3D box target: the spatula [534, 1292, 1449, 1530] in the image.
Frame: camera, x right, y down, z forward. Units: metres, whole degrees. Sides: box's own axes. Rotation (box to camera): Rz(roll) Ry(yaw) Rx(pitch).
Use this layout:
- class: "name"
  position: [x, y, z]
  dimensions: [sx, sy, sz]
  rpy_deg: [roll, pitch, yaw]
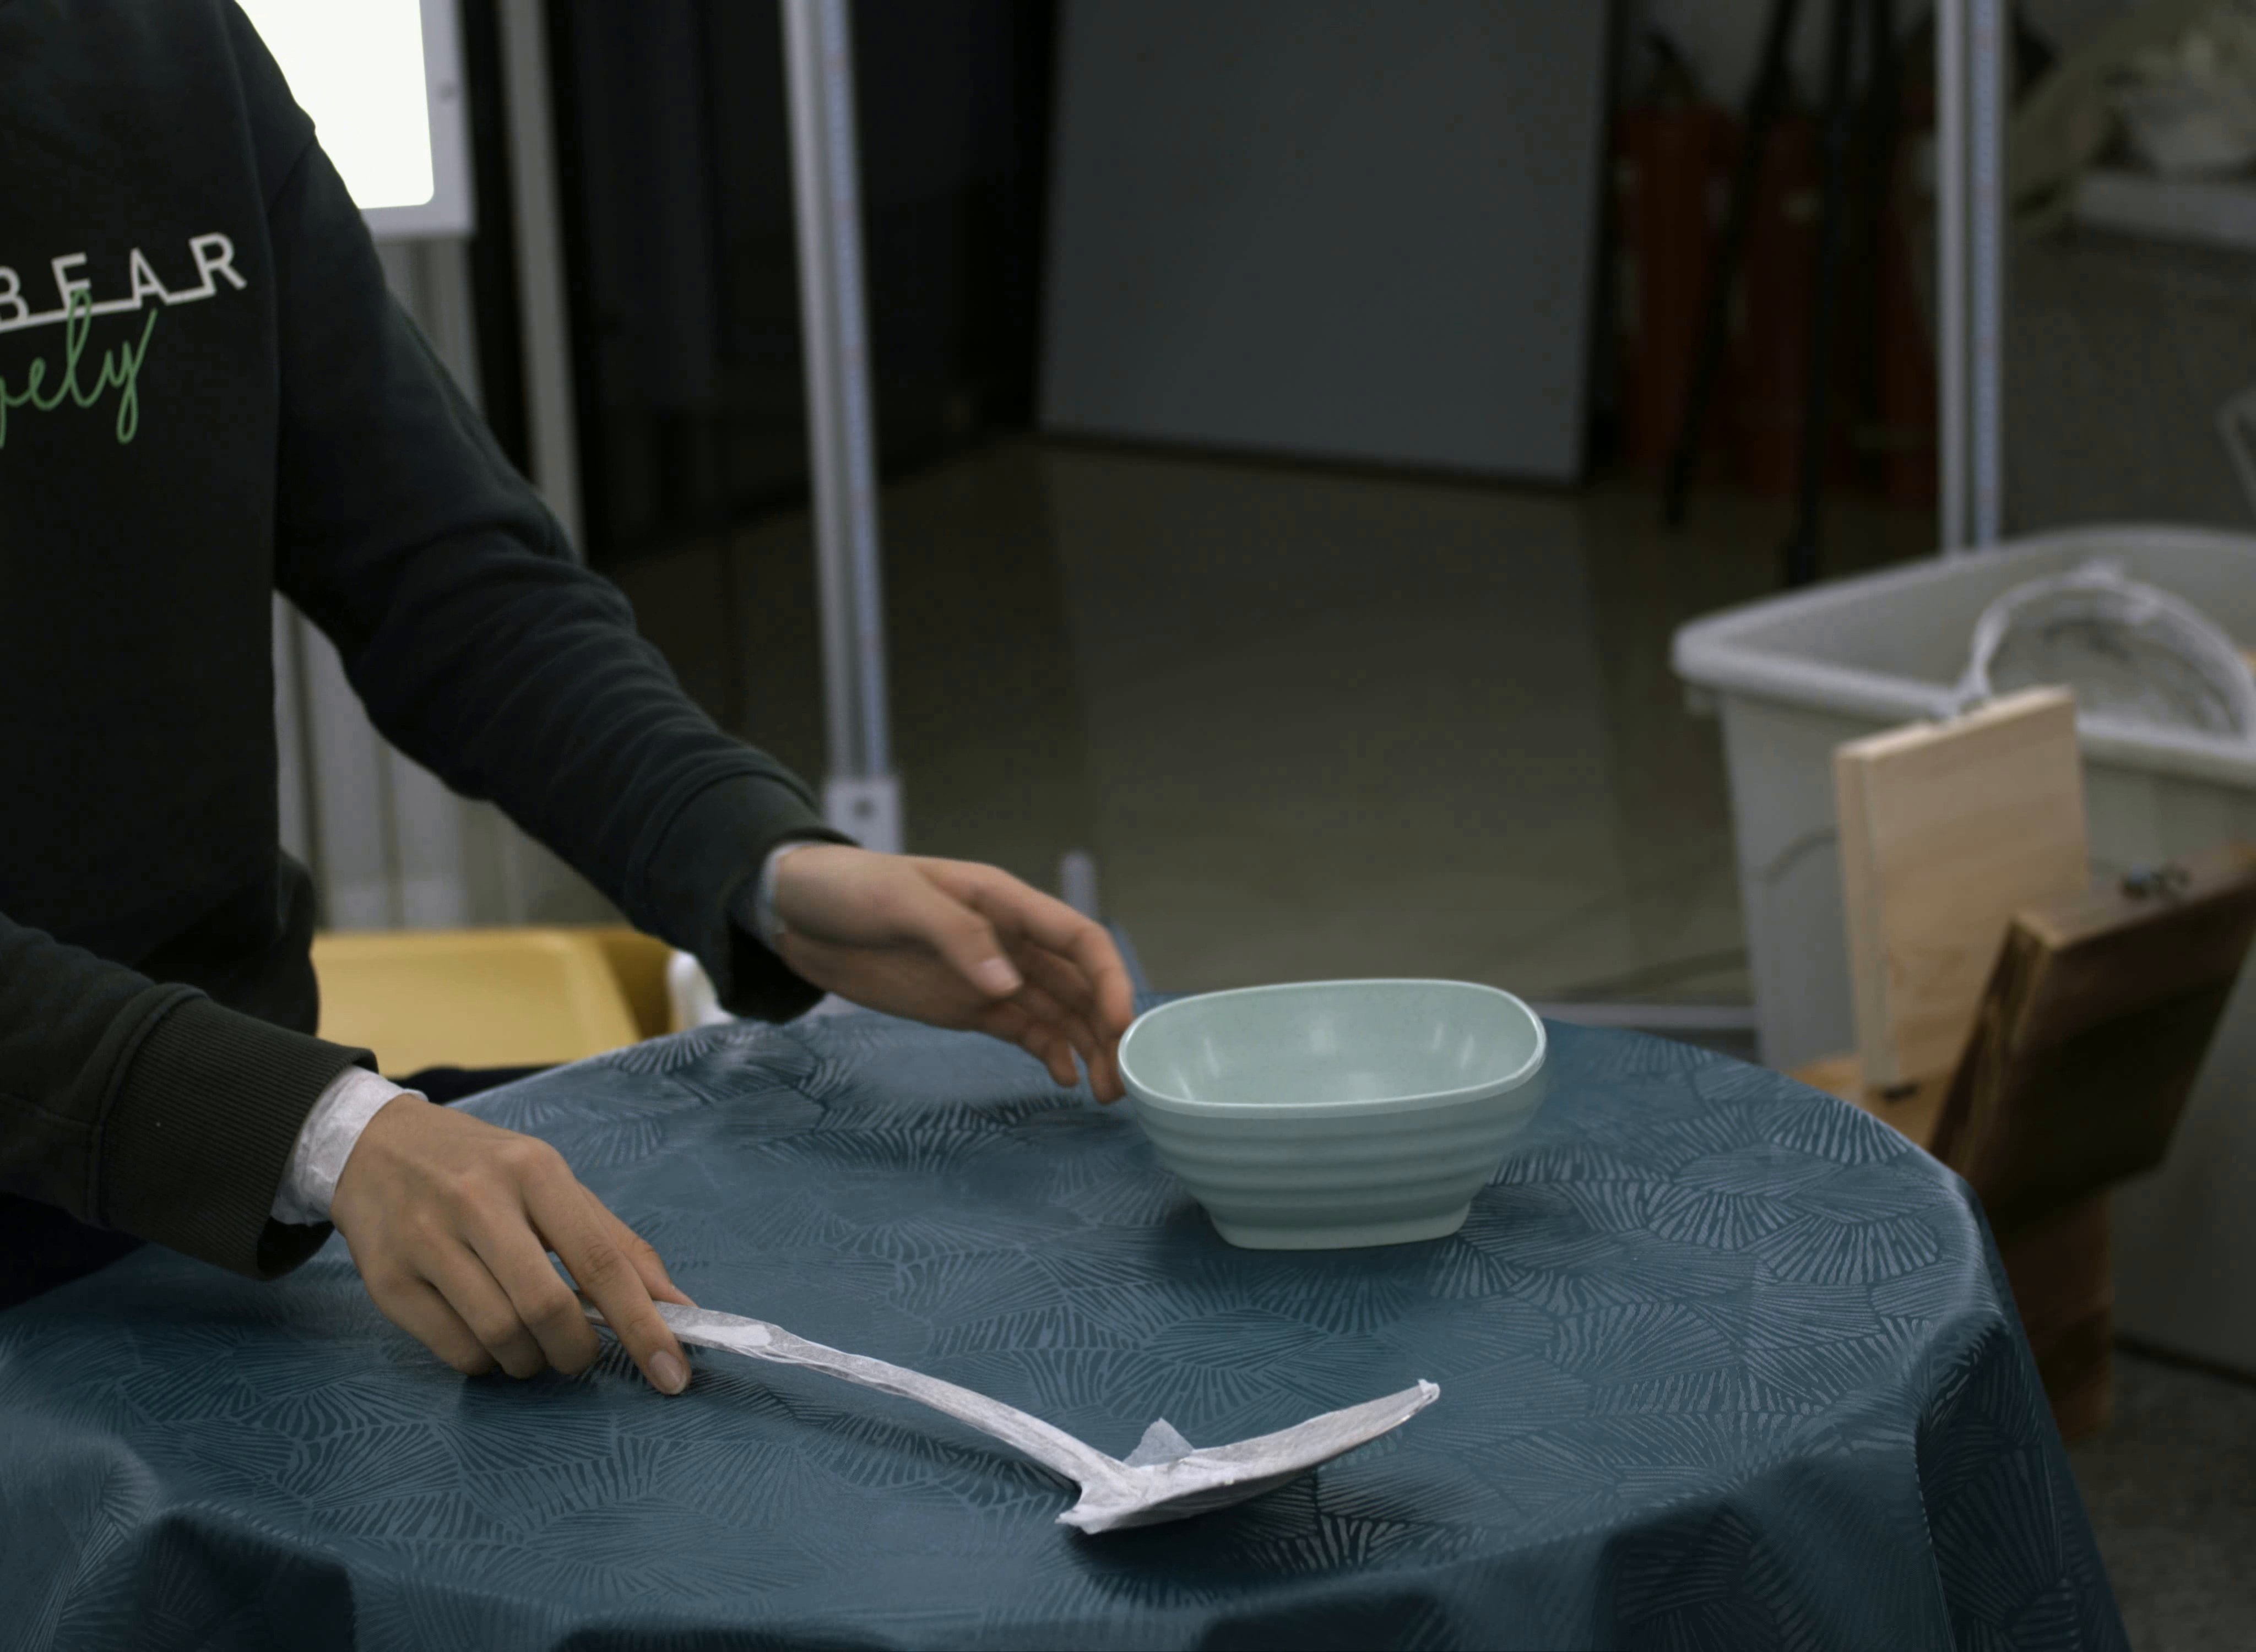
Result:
- class: "spatula"
  position: [-0.062, 0.157, 1.562]
  dimensions: [0.368, 0.045, 0.097]
  rpy_deg: [10, 22, 44]

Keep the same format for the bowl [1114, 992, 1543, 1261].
- class: "bowl"
  position: [0.065, 0.099, 1.733]
  dimensions: [0.149, 0.059, 0.151]
  rpy_deg: [-2, 13, 0]
